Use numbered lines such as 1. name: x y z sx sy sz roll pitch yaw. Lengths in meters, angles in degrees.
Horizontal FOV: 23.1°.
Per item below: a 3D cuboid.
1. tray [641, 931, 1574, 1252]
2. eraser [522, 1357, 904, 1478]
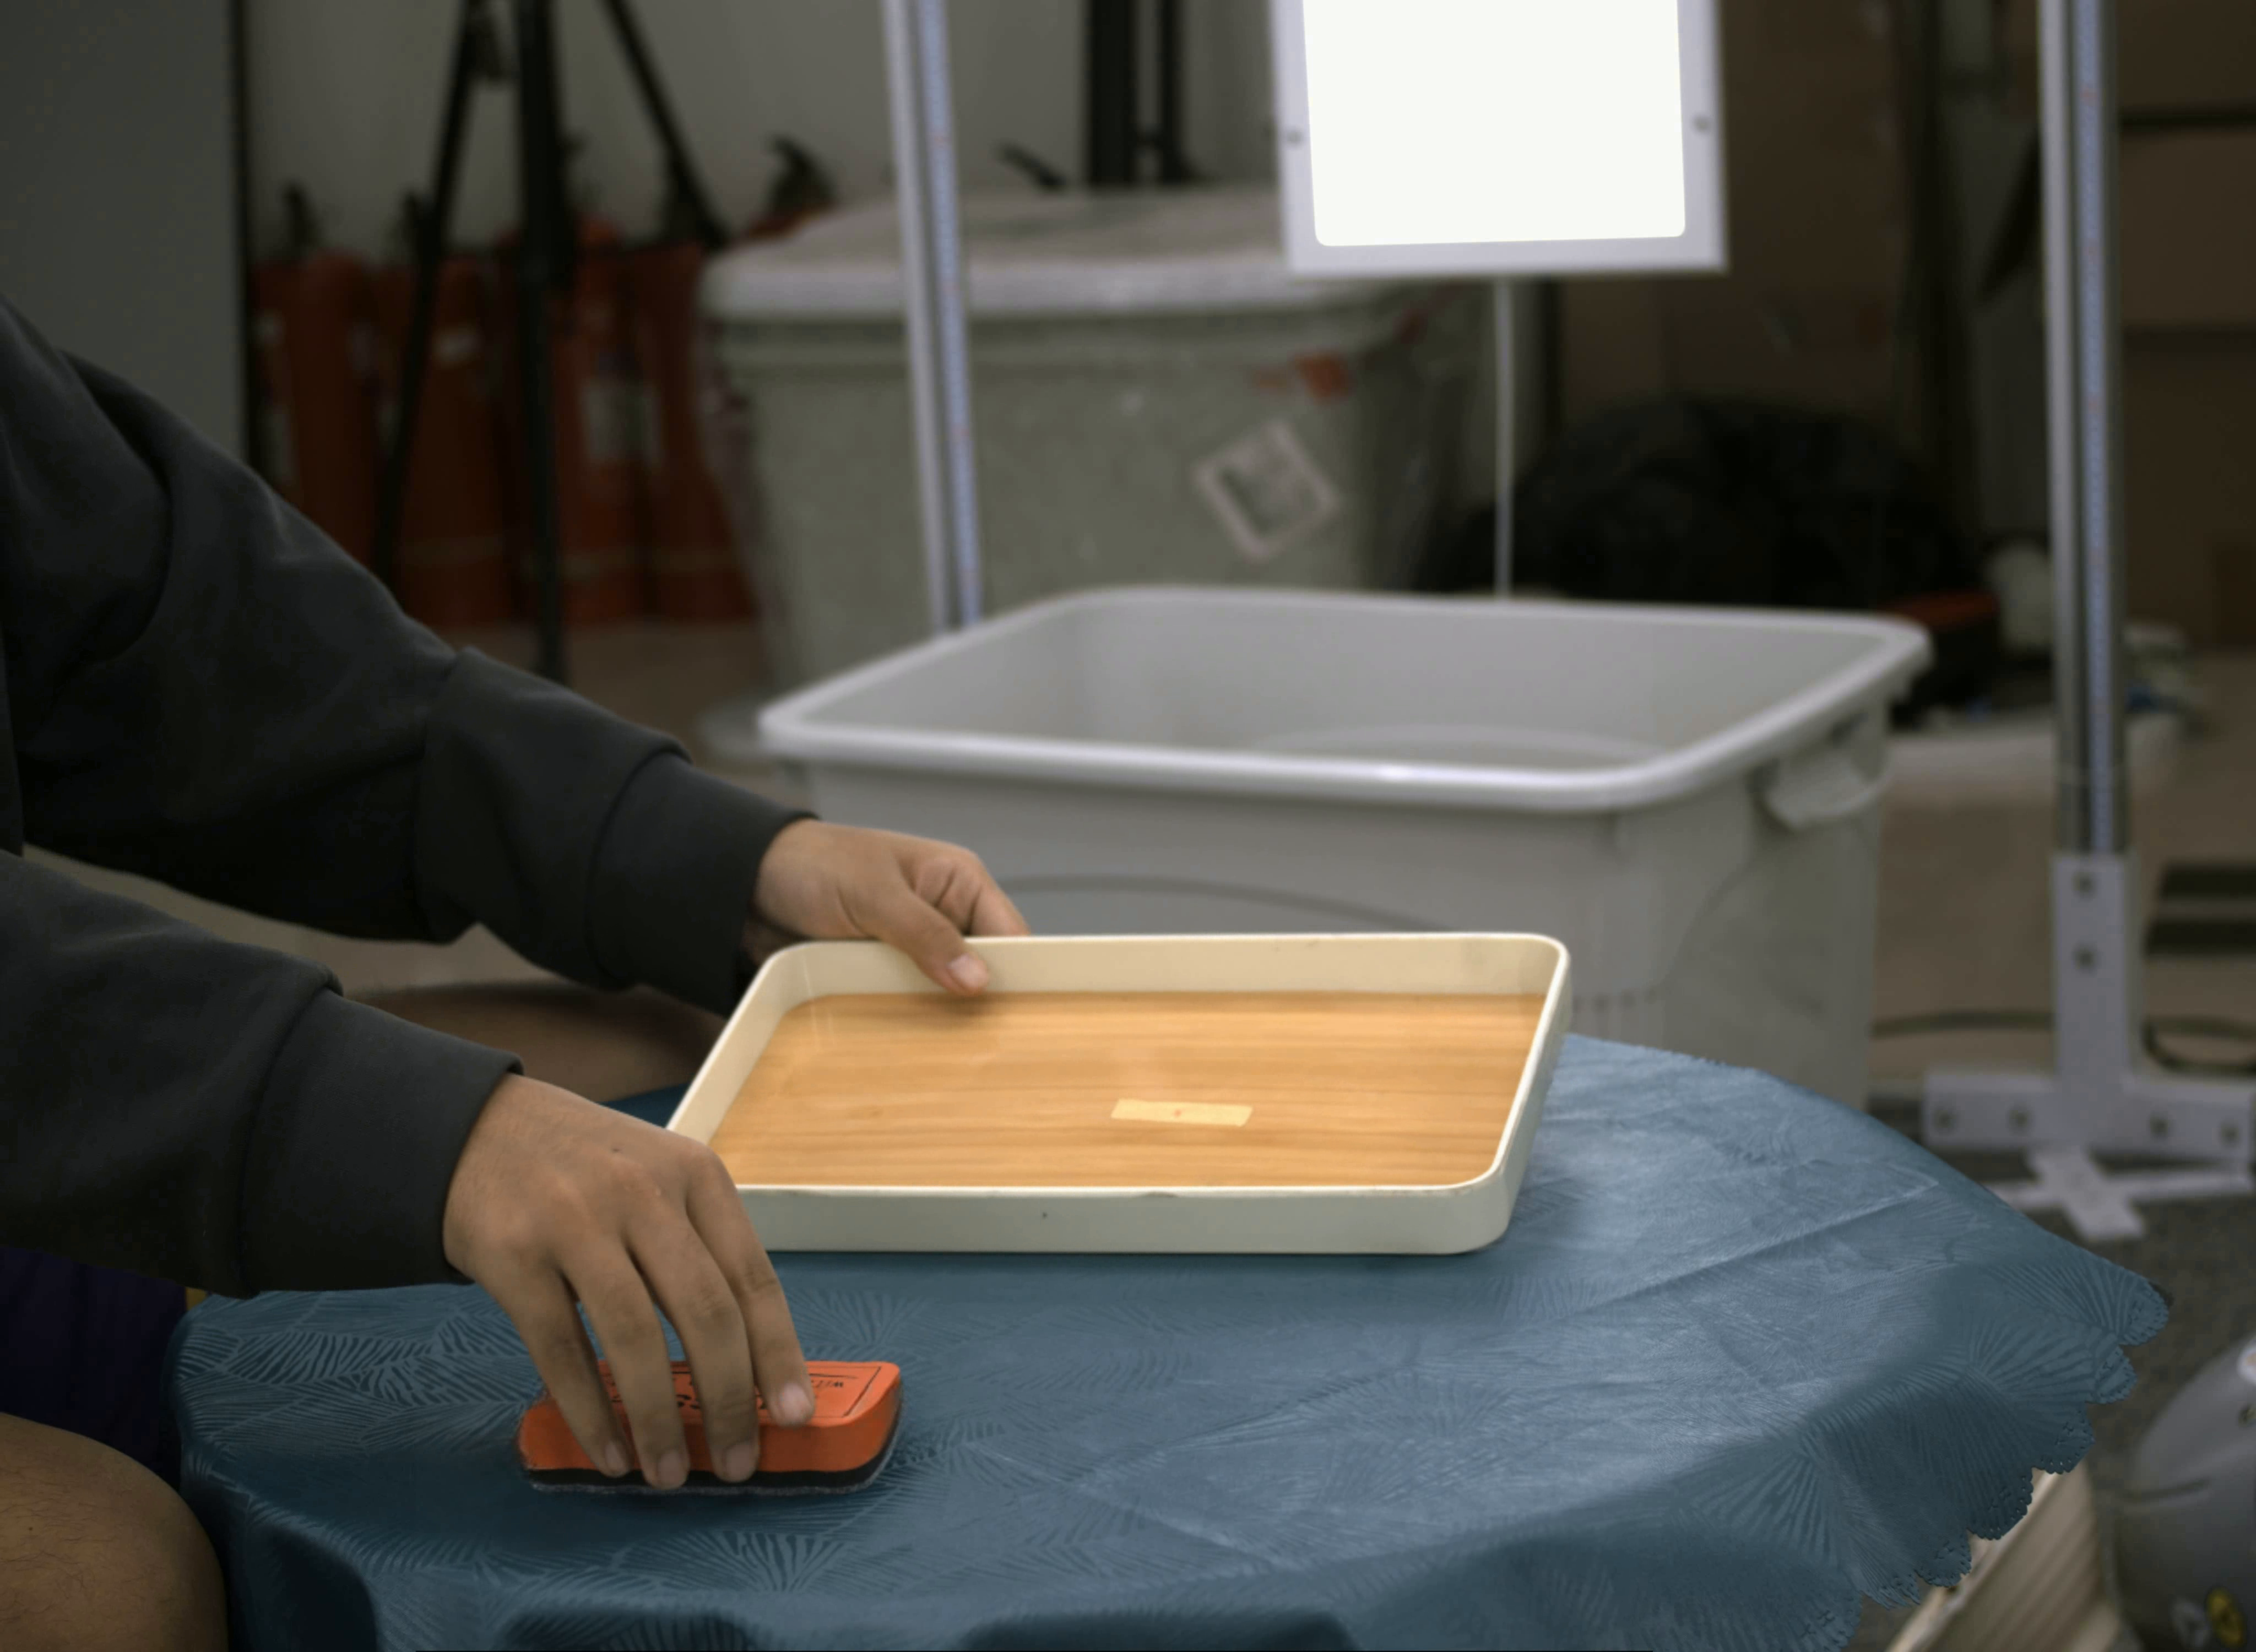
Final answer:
1. tray: -0.004 0.091 1.914 0.303 0.027 0.189 -1 26 16
2. eraser: -0.125 0.179 1.669 0.109 0.023 0.058 -3 7 15
